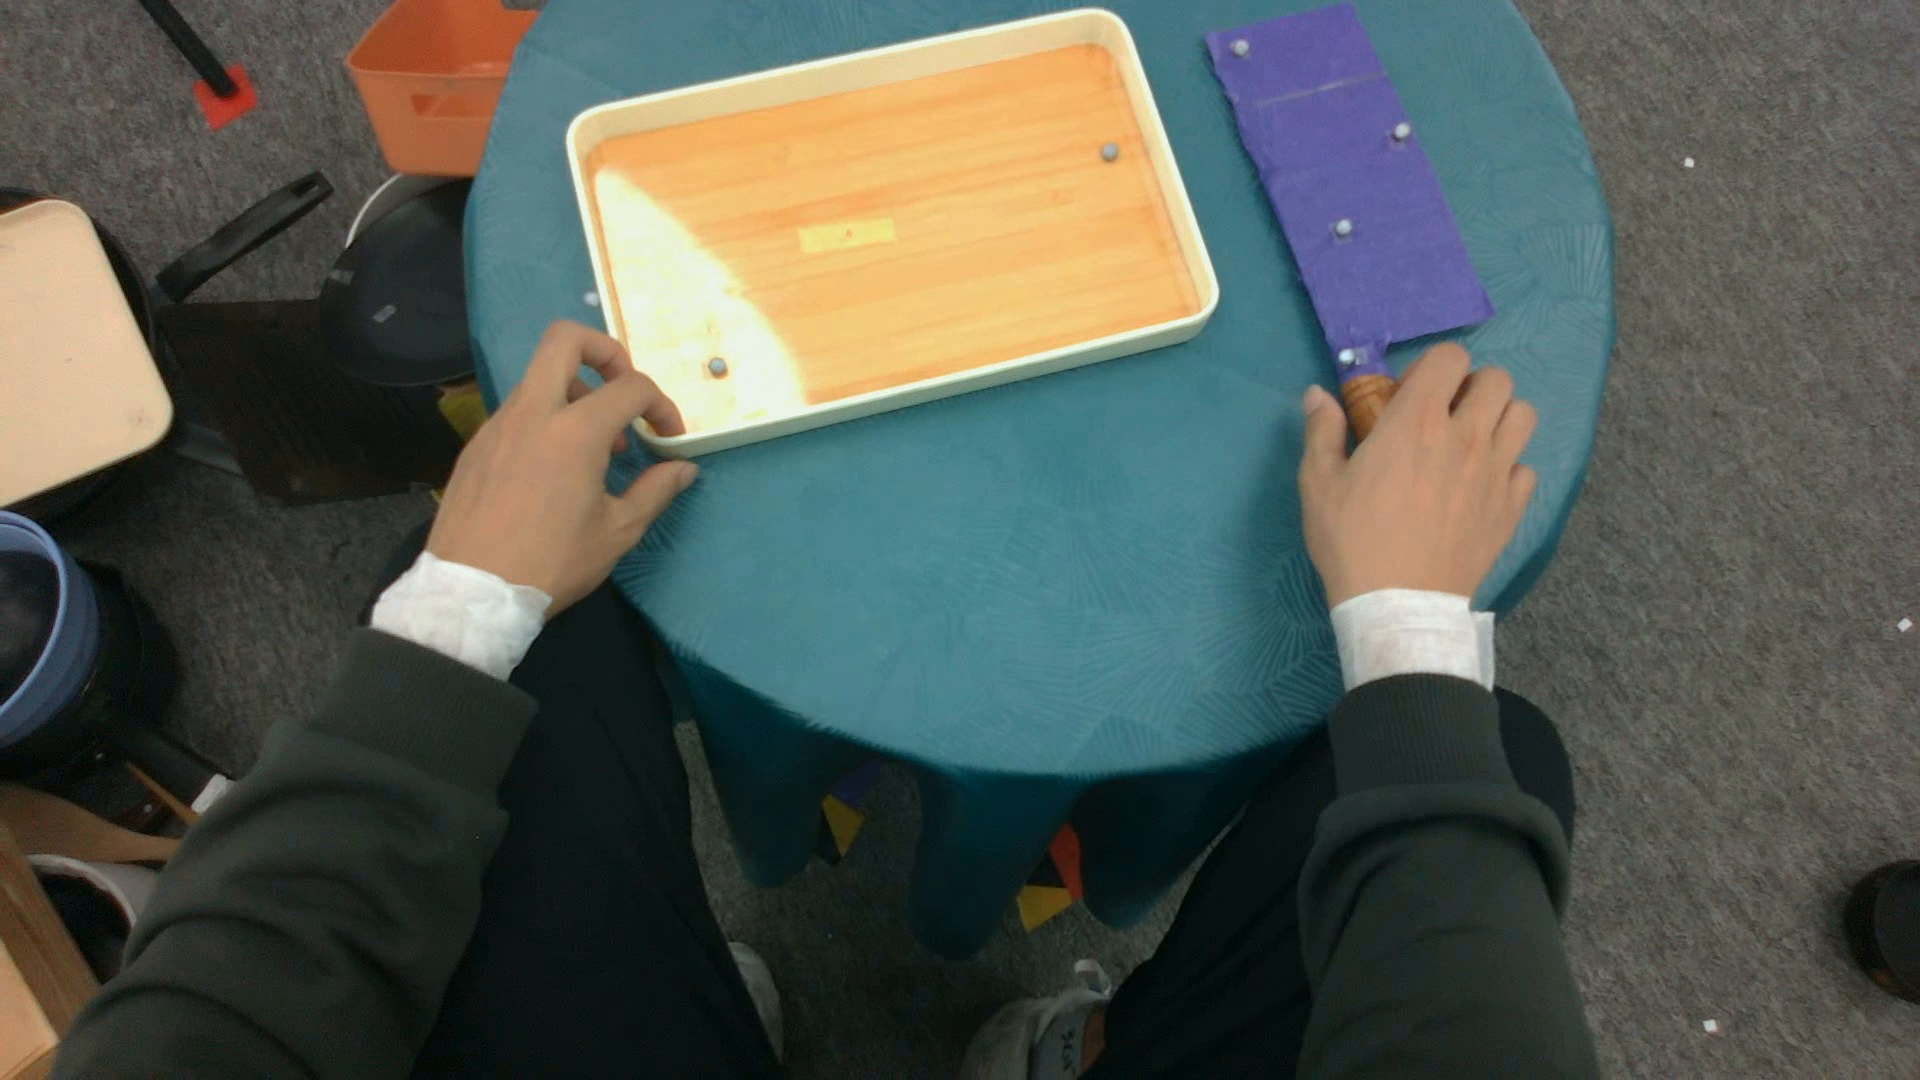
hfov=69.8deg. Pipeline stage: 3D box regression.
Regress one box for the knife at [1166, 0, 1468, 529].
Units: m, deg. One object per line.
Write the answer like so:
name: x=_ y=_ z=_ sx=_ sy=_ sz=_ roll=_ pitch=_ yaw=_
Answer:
knife: x=0.207 y=-0.162 z=0.717 sx=0.104 sy=0.032 sz=0.316 roll=-16 pitch=74 yaw=-8

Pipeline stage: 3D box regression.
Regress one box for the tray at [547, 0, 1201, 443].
tray: x=-0.044 y=-0.169 z=0.704 sx=0.300 sy=0.027 sz=0.192 roll=-14 pitch=75 yaw=-8
